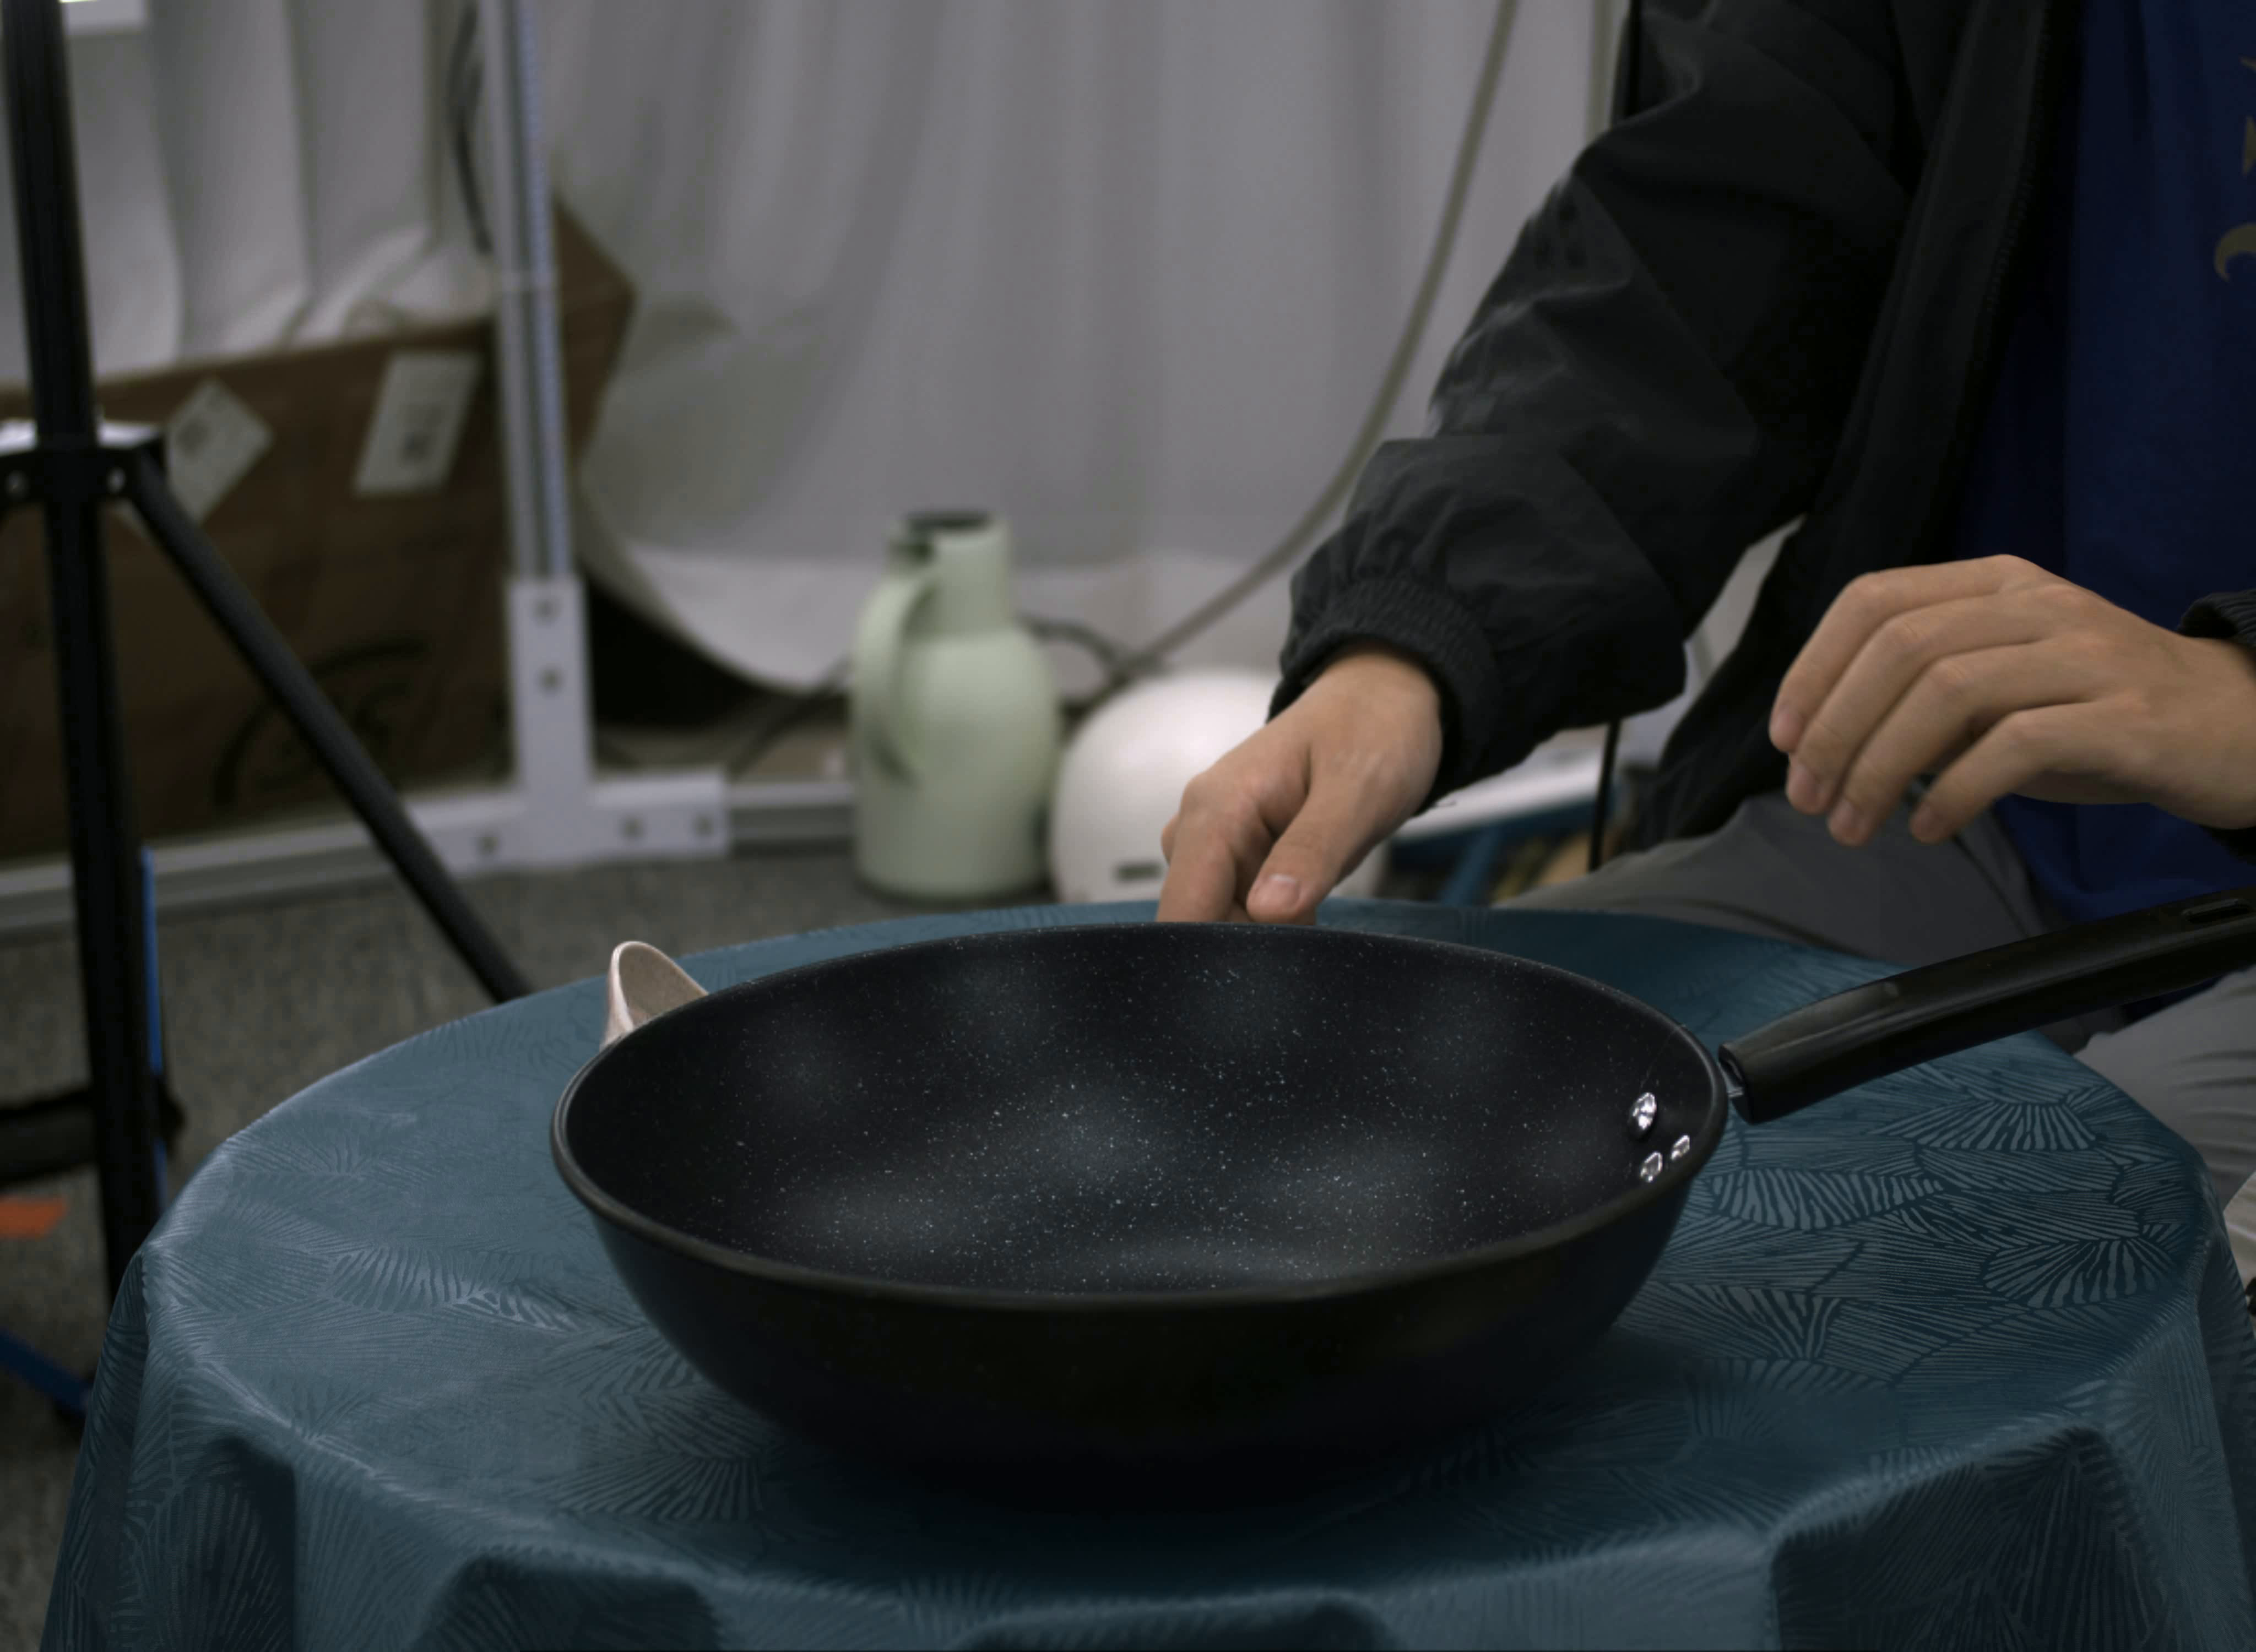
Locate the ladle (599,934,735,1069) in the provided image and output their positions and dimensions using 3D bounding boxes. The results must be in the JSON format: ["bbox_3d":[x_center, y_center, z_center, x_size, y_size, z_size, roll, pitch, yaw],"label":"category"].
[{"bbox_3d":[-0.022,0.064,1.600,0.271,0.069,0.090,-3,30,-9],"label":"ladle"}]

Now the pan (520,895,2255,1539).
[{"bbox_3d":[0.079,0.095,1.401,0.472,0.111,0.314,-5,17,-7],"label":"pan"}]
